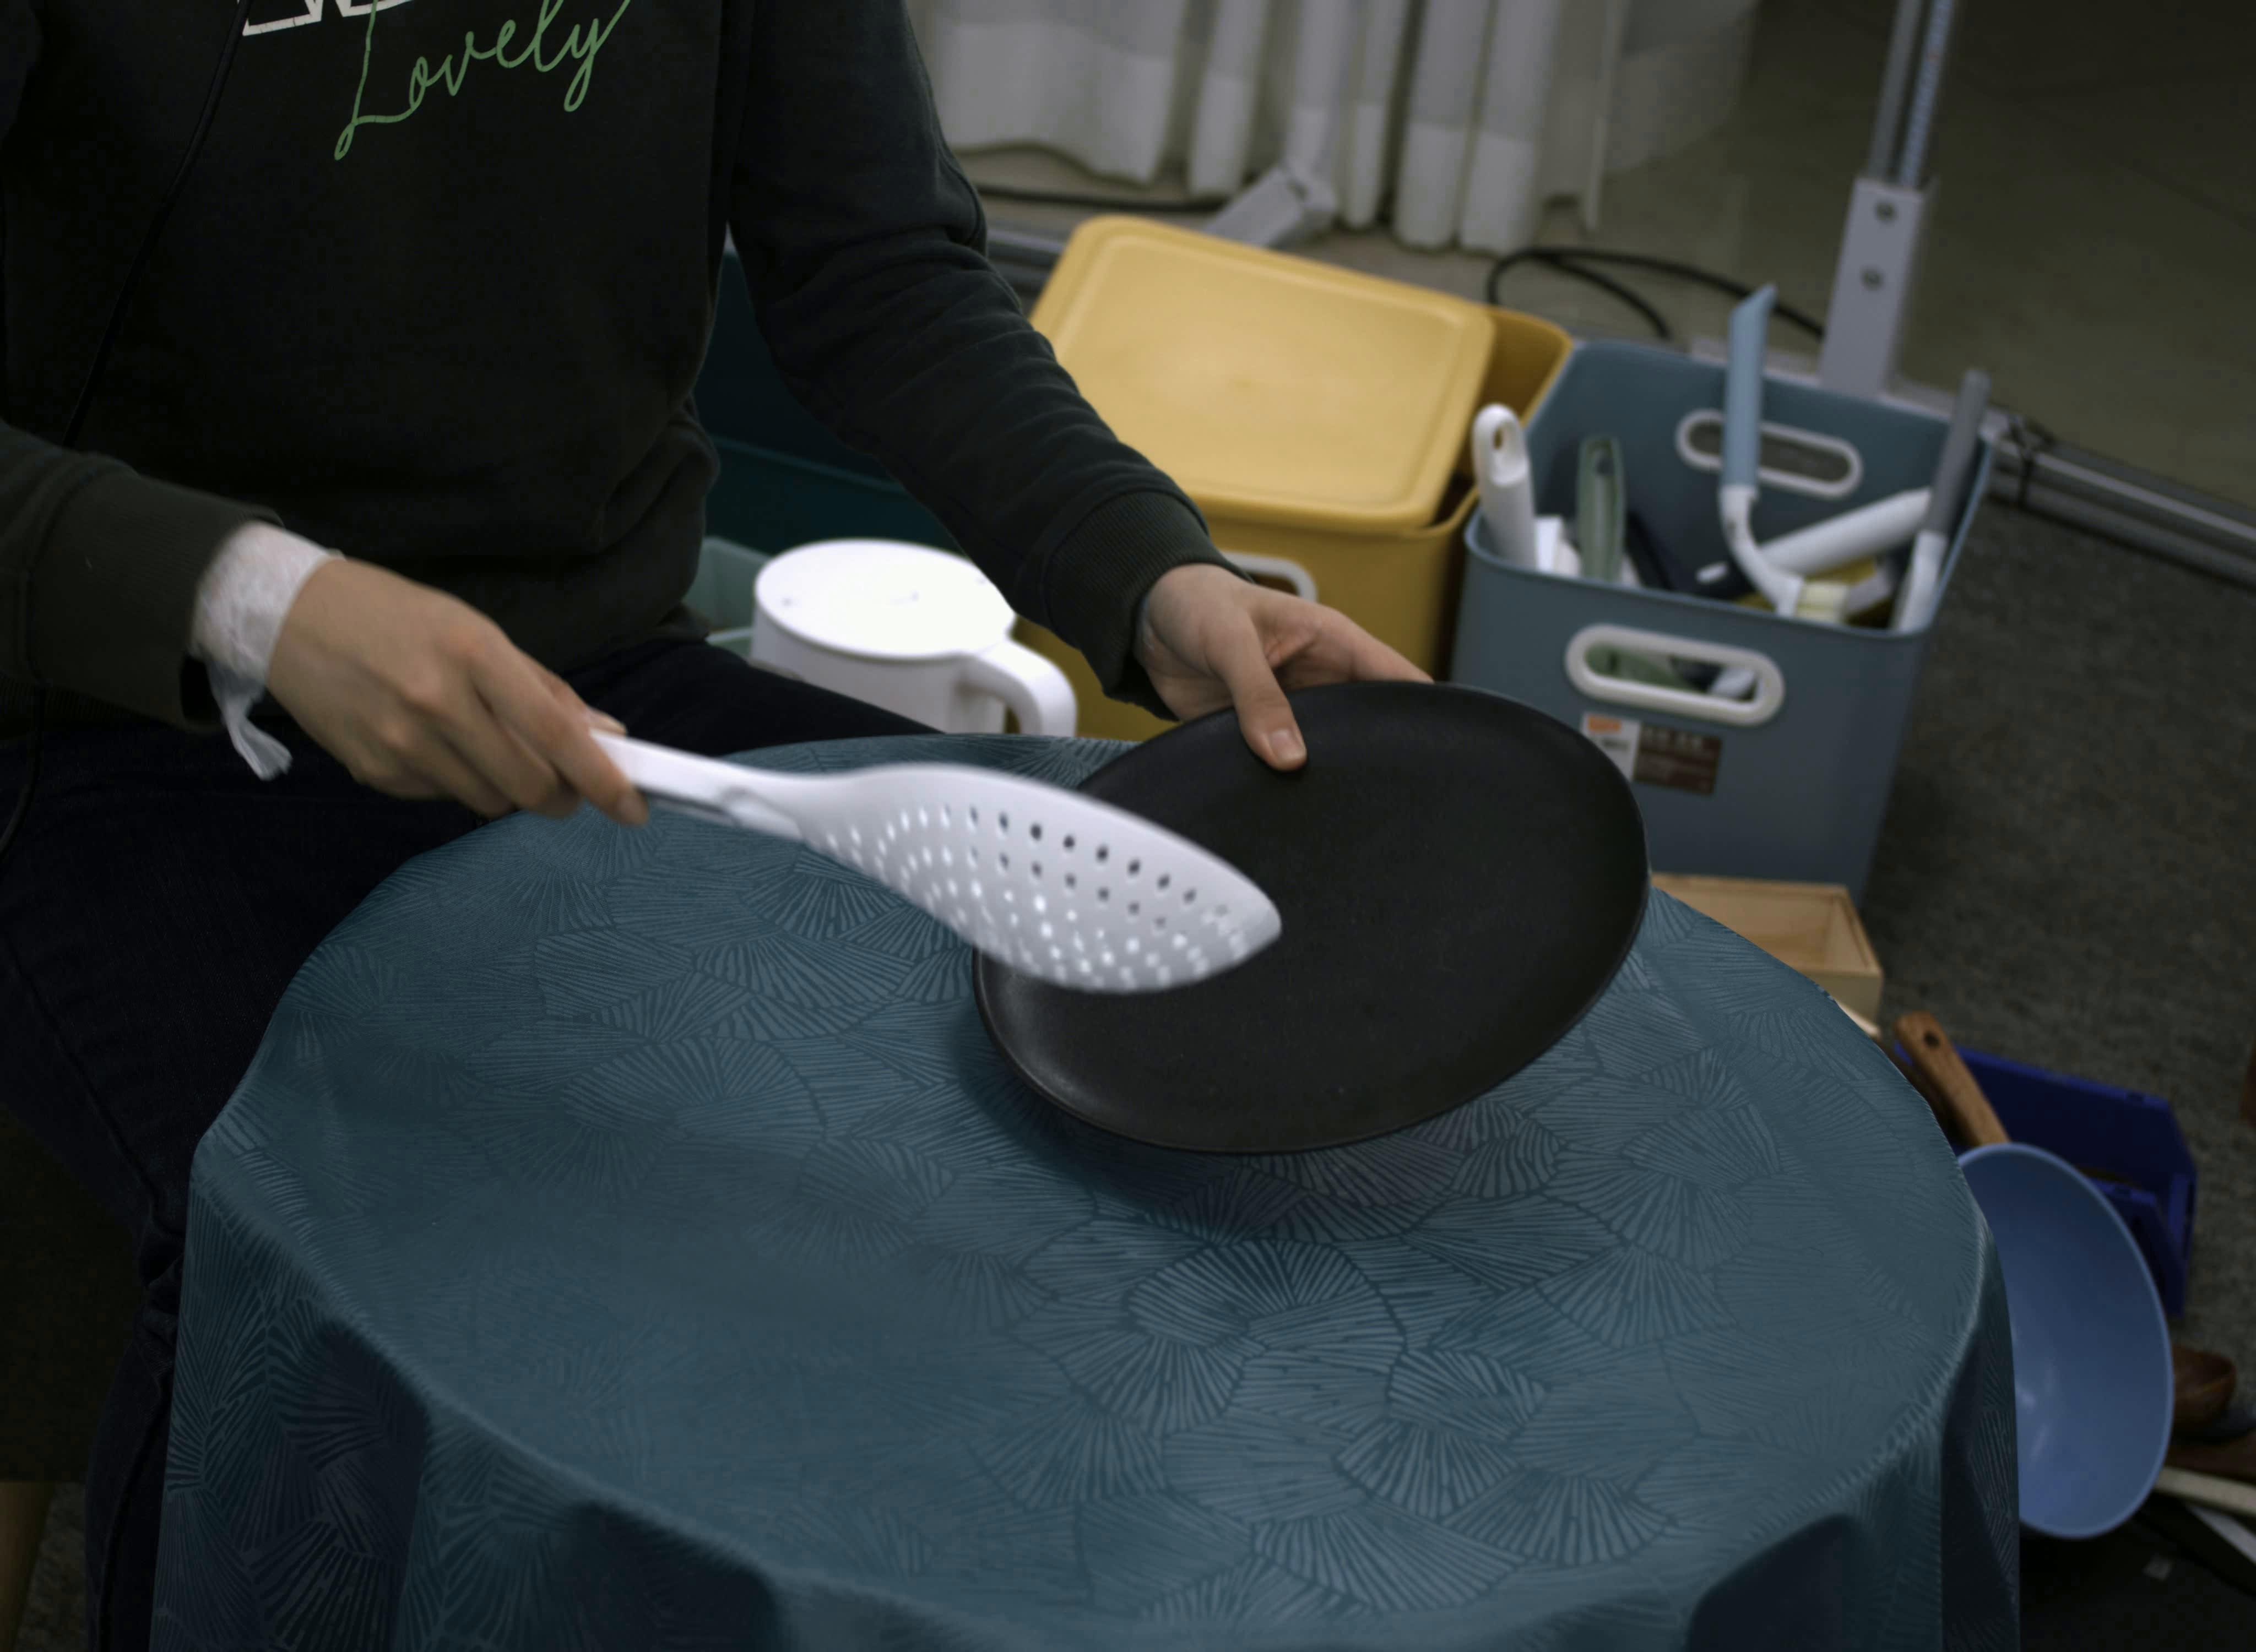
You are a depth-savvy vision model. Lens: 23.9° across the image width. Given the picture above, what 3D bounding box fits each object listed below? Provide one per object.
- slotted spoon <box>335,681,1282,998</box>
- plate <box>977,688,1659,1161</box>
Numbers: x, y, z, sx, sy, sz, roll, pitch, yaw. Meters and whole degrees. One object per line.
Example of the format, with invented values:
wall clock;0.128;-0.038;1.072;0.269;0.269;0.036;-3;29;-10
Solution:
slotted spoon;-0.112;-0.004;1.731;0.351;0.046;0.135;18;-15;27
plate;0.067;0.037;1.861;0.244;0.023;0.246;-10;39;8
